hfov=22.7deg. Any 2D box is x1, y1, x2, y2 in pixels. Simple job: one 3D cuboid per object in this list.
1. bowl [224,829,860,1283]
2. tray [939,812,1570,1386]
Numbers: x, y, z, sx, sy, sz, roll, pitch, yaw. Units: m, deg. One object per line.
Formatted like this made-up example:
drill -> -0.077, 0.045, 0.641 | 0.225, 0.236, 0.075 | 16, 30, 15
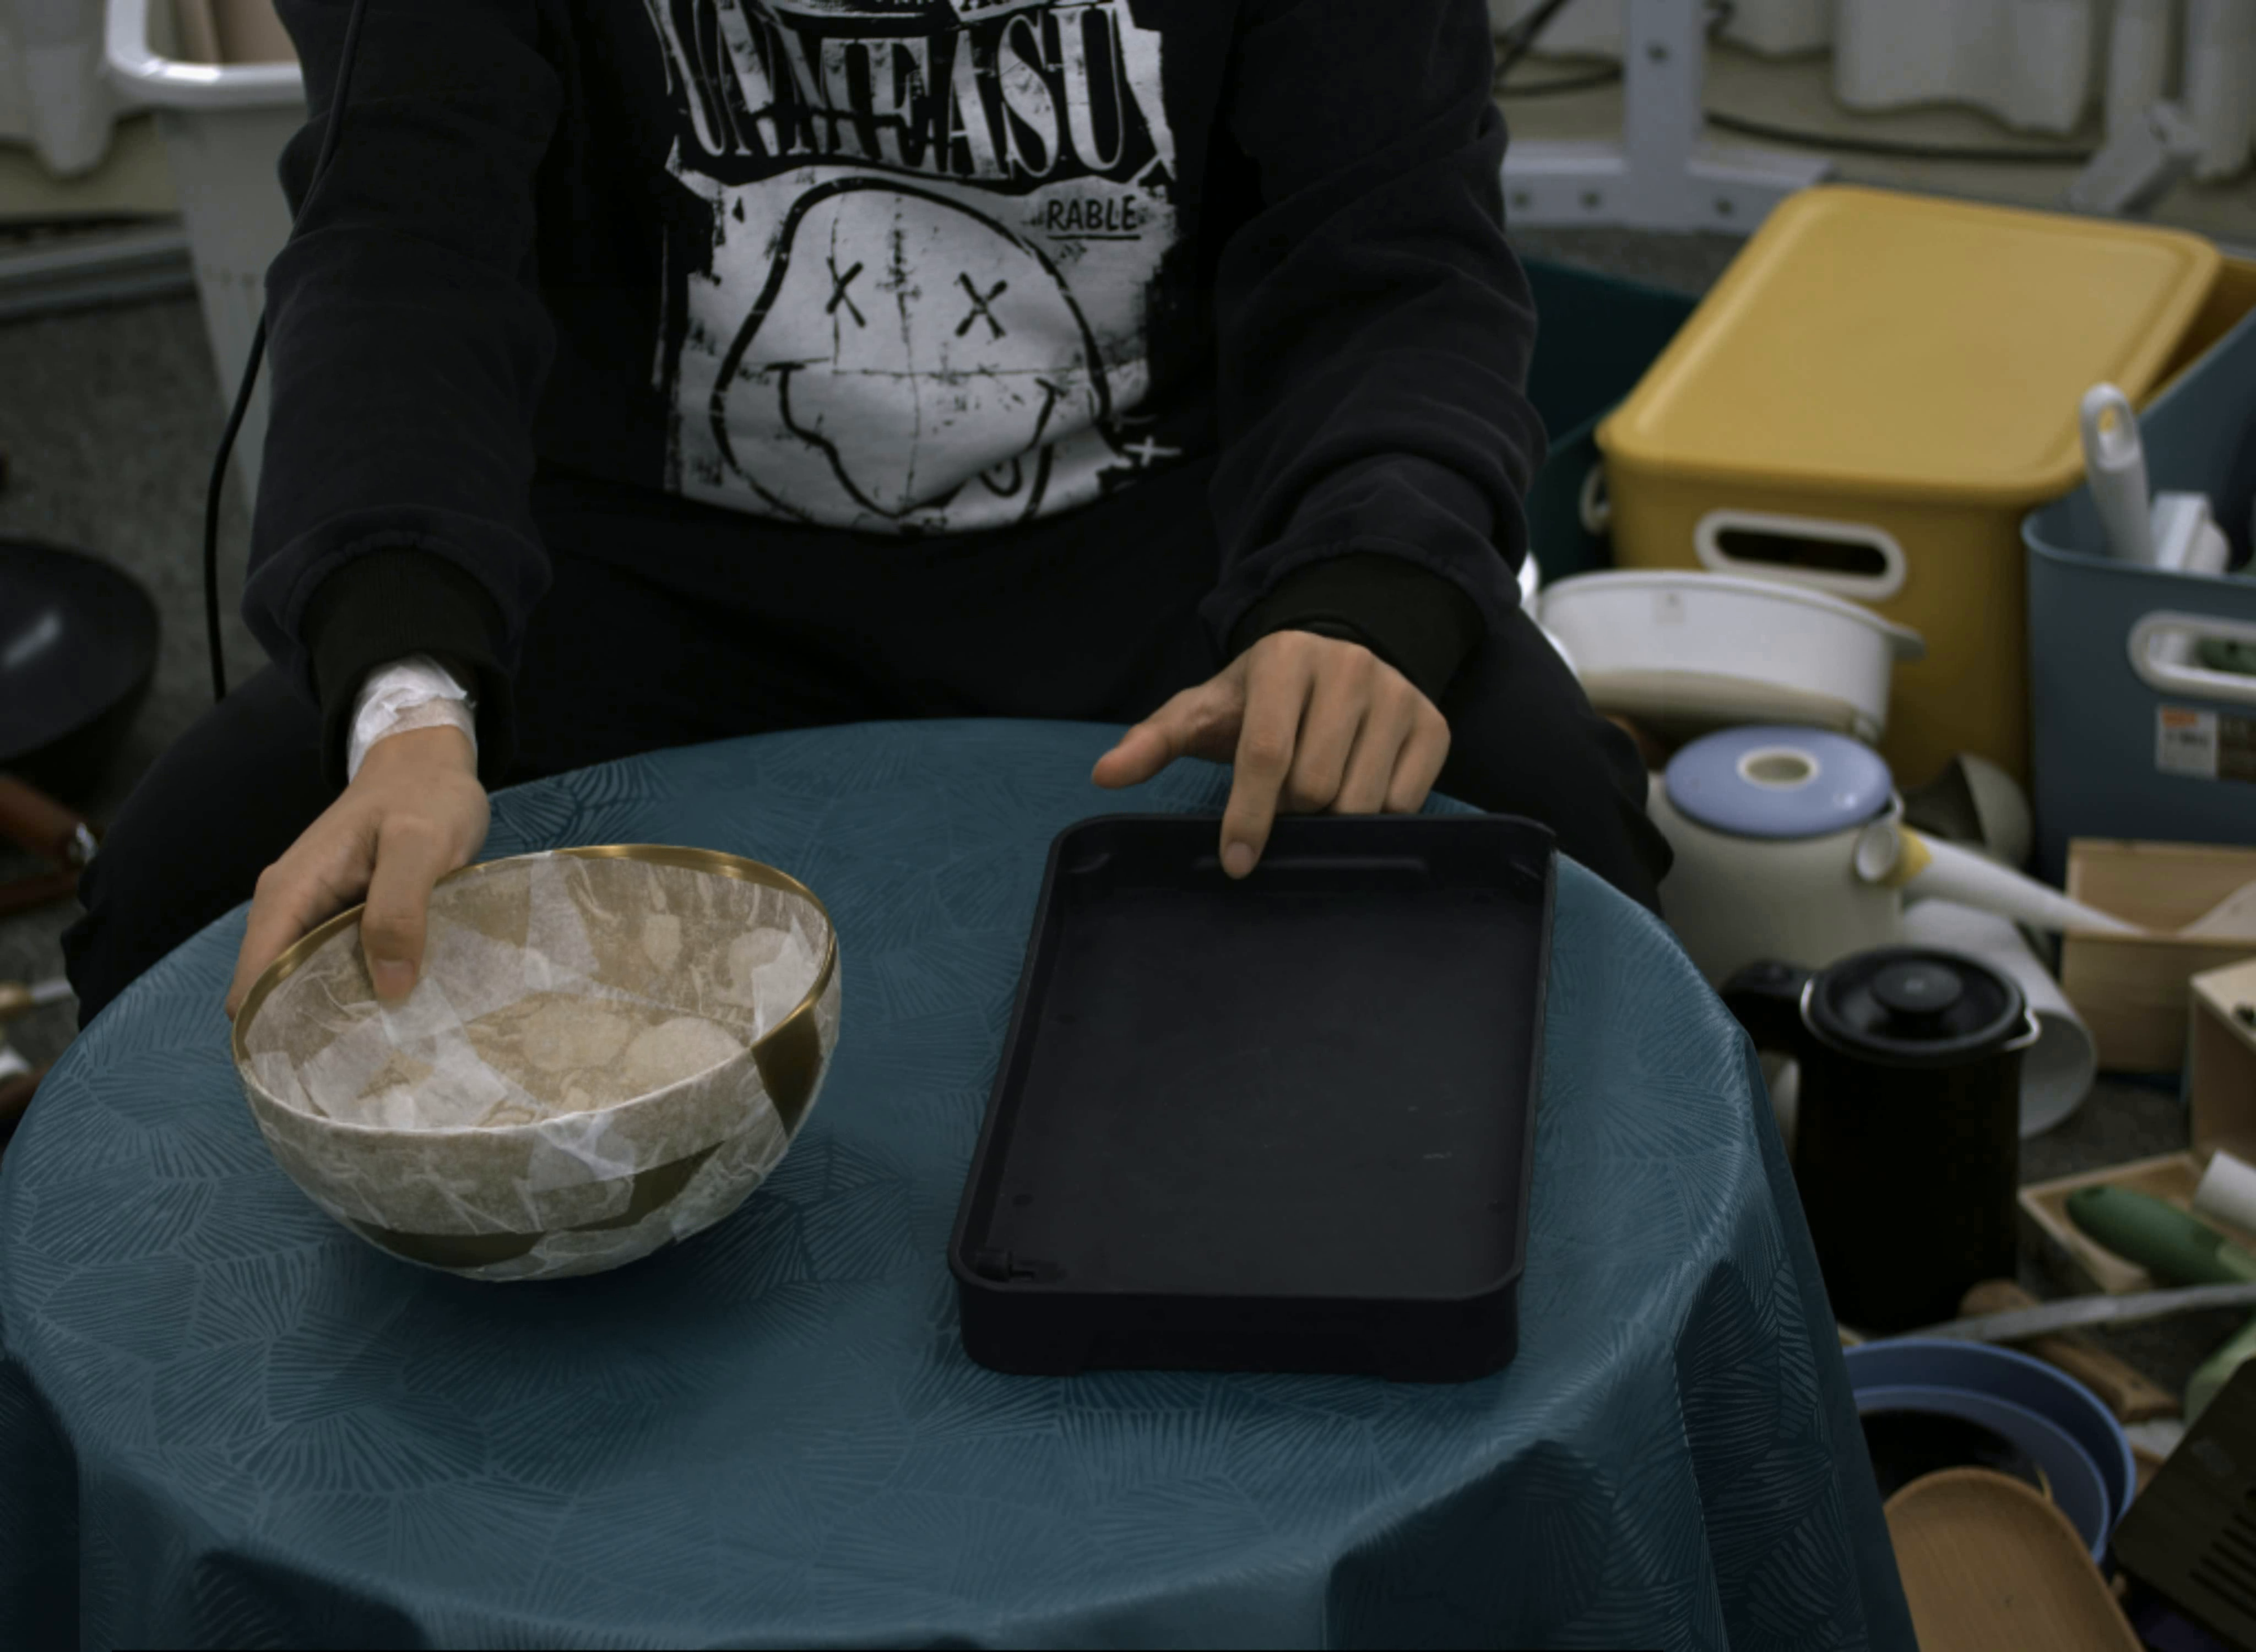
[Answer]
bowl -> -0.184, 0.088, 1.841 | 0.213, 0.094, 0.218 | -7, 24, 4
tray -> 0.049, 0.085, 1.888 | 0.183, 0.036, 0.323 | 1, 28, 7
